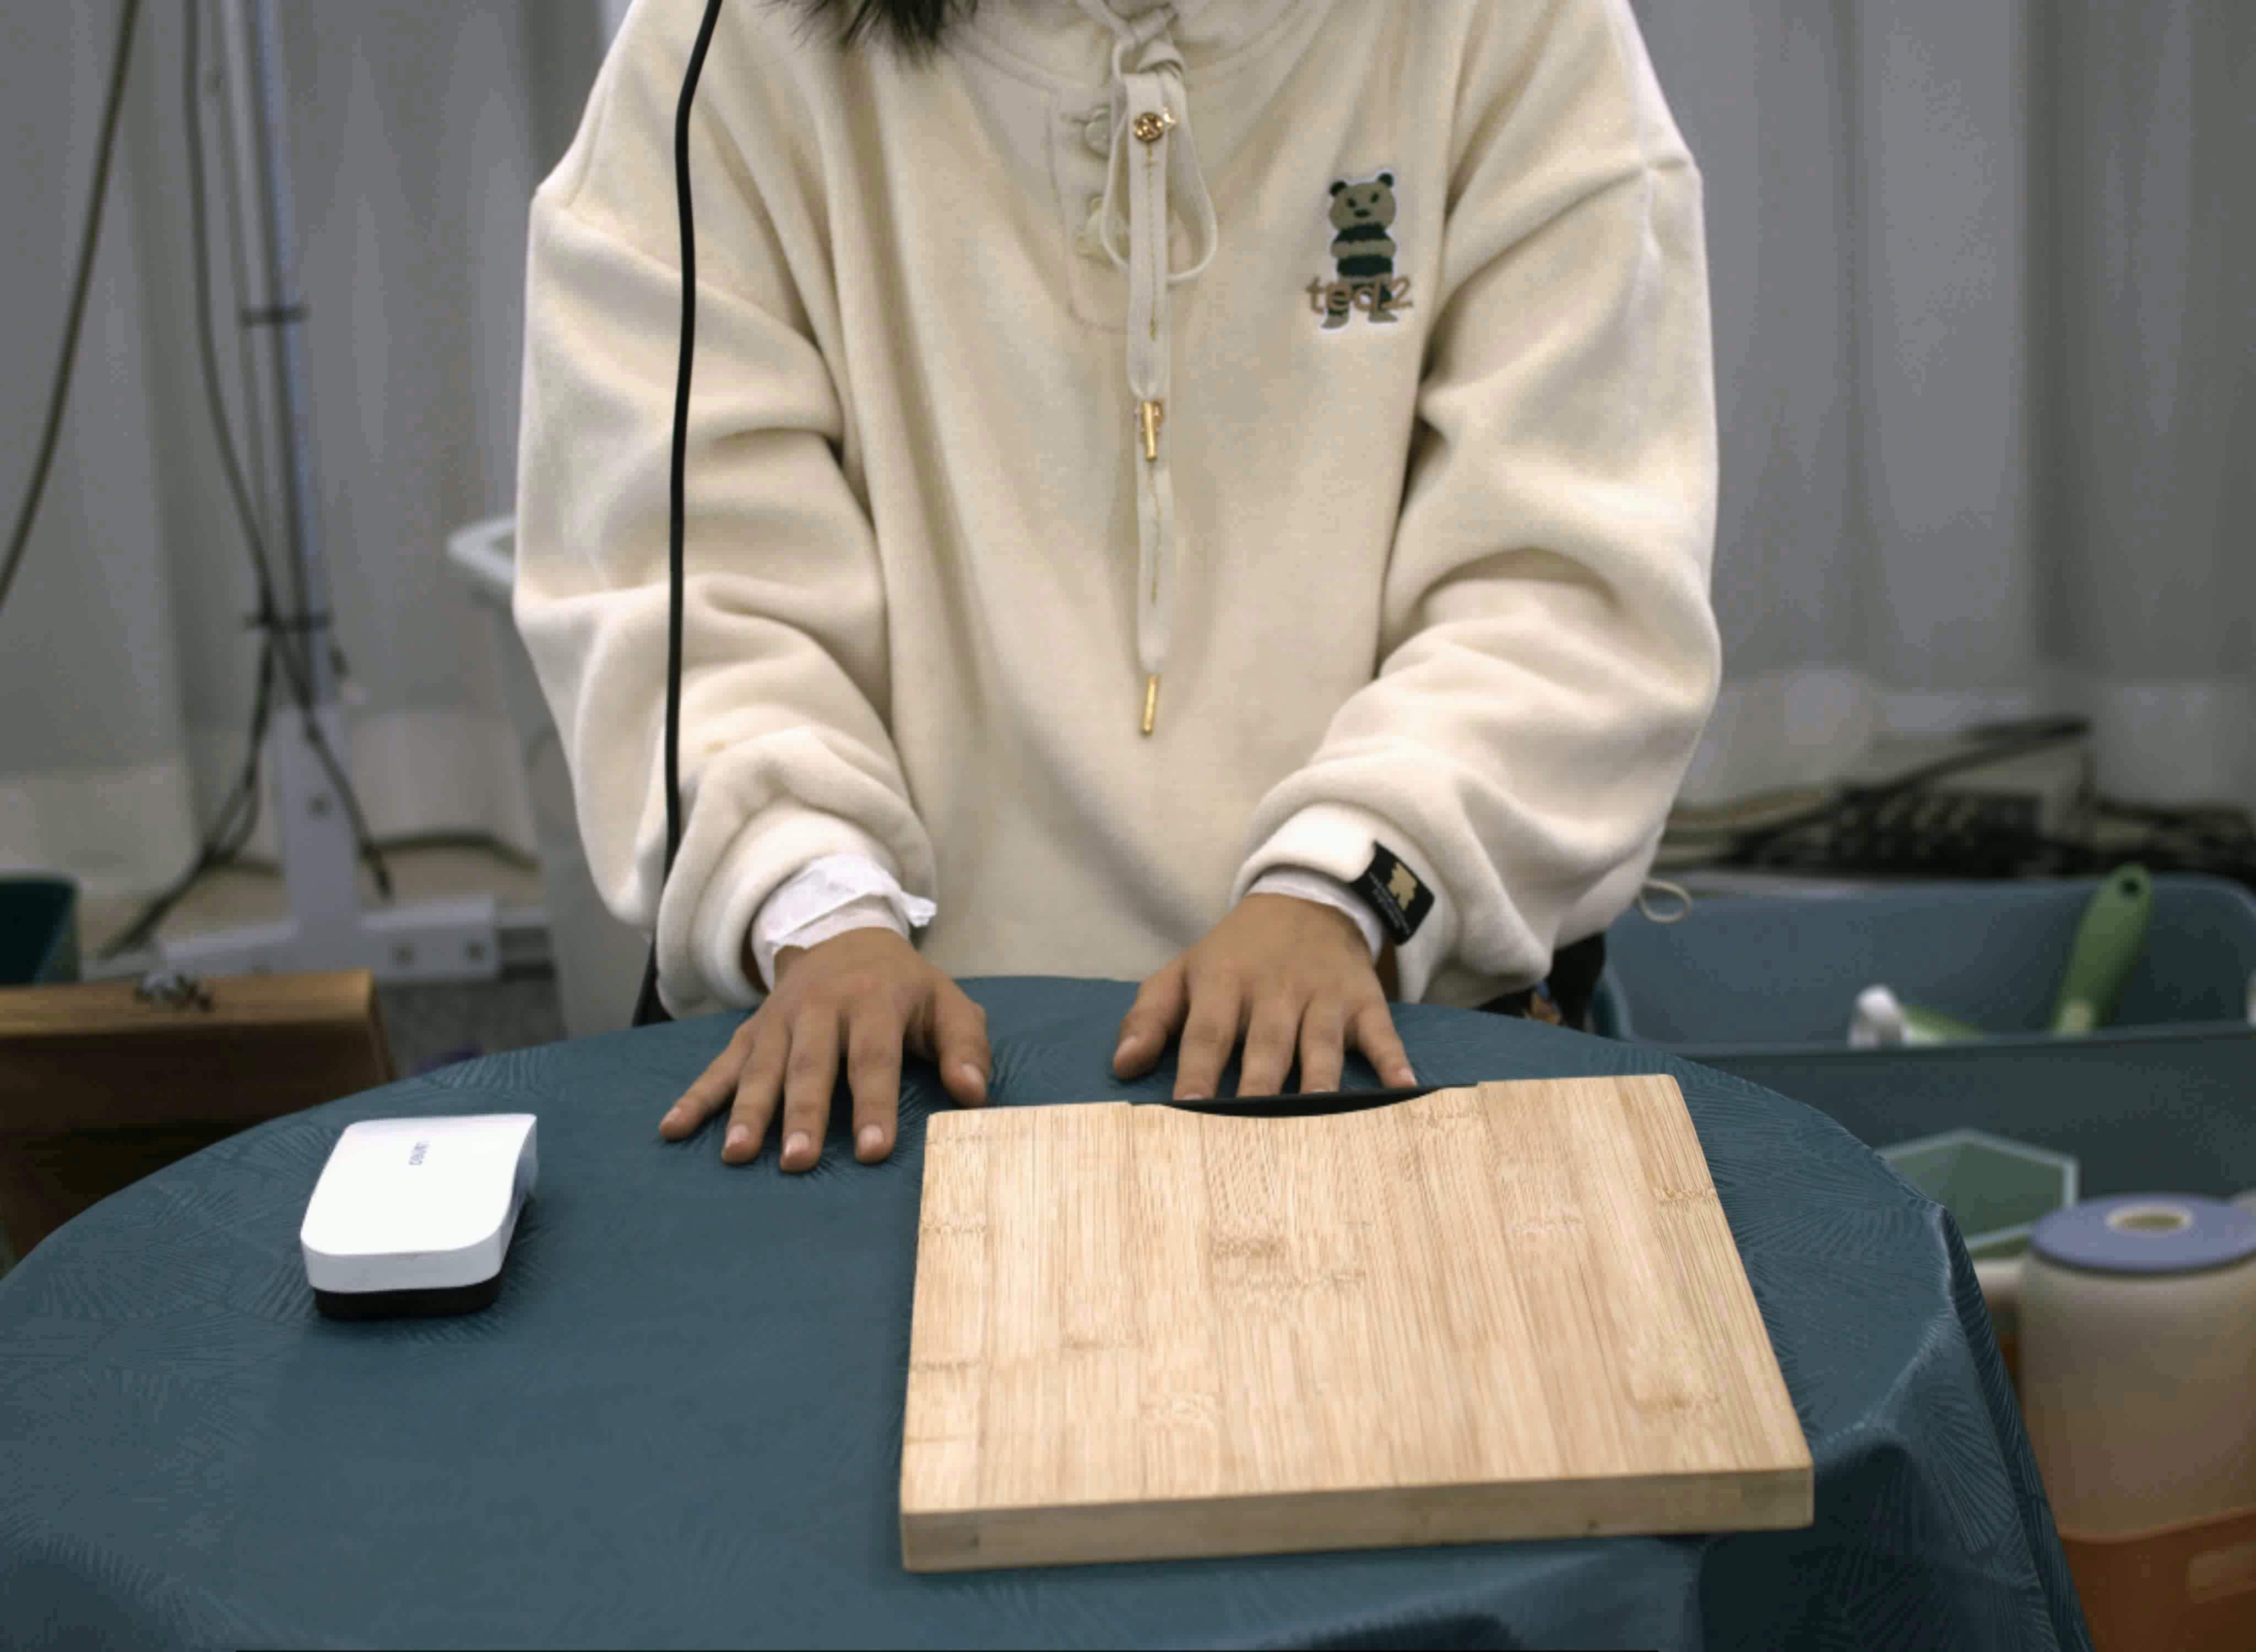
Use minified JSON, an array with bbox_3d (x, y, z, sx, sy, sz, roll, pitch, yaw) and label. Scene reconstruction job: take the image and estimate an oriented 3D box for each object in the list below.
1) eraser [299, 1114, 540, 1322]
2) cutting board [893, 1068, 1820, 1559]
[{"bbox_3d":[-0.216,0.117,1.690,0.063,0.034,0.132,-3,15,3],"label":"eraser"},{"bbox_3d":[0.059,0.137,1.589,0.250,0.023,0.351,-3,15,-1],"label":"cutting board"}]
